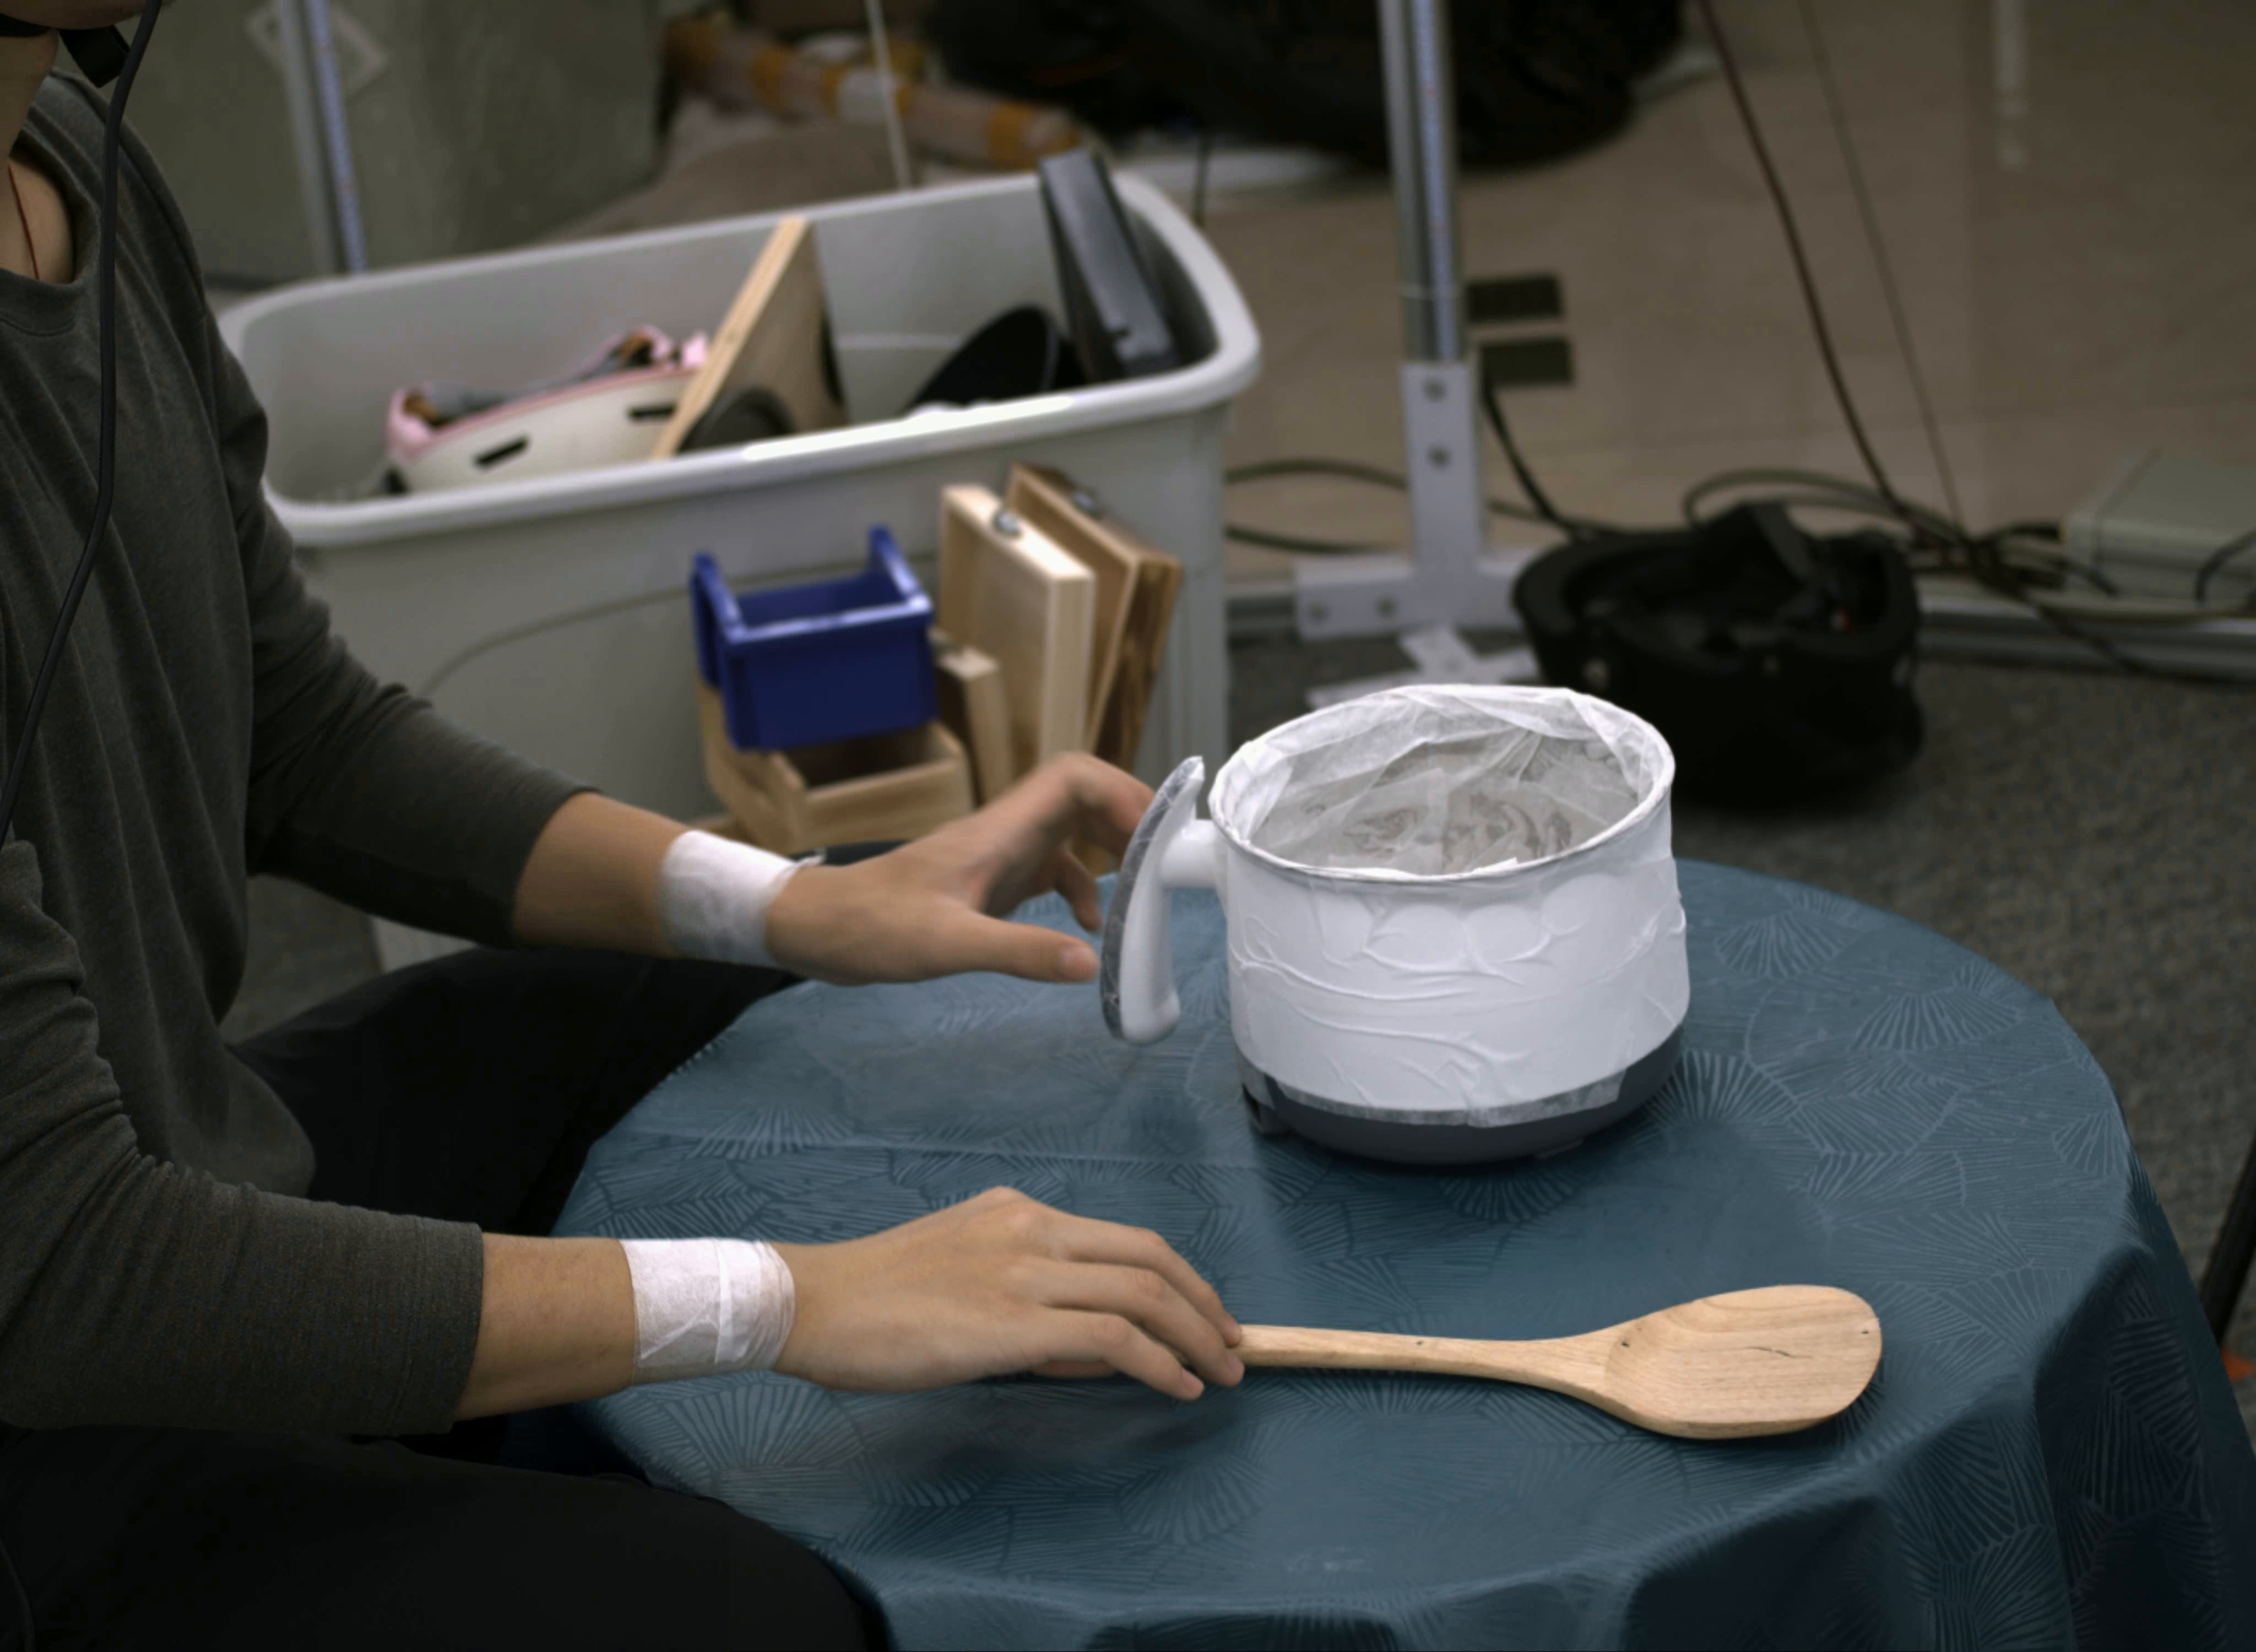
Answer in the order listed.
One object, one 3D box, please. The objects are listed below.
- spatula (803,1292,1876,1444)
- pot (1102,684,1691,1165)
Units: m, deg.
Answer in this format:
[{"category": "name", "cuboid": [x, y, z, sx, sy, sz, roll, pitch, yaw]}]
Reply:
[{"category": "spatula", "cuboid": [0.069, 0.188, 2.008, 0.390, 0.019, 0.094, 1, 25, 15]}, {"category": "pot", "cuboid": [0.099, 0.038, 2.179, 0.233, 0.139, 0.176, 2, 26, 17]}]
